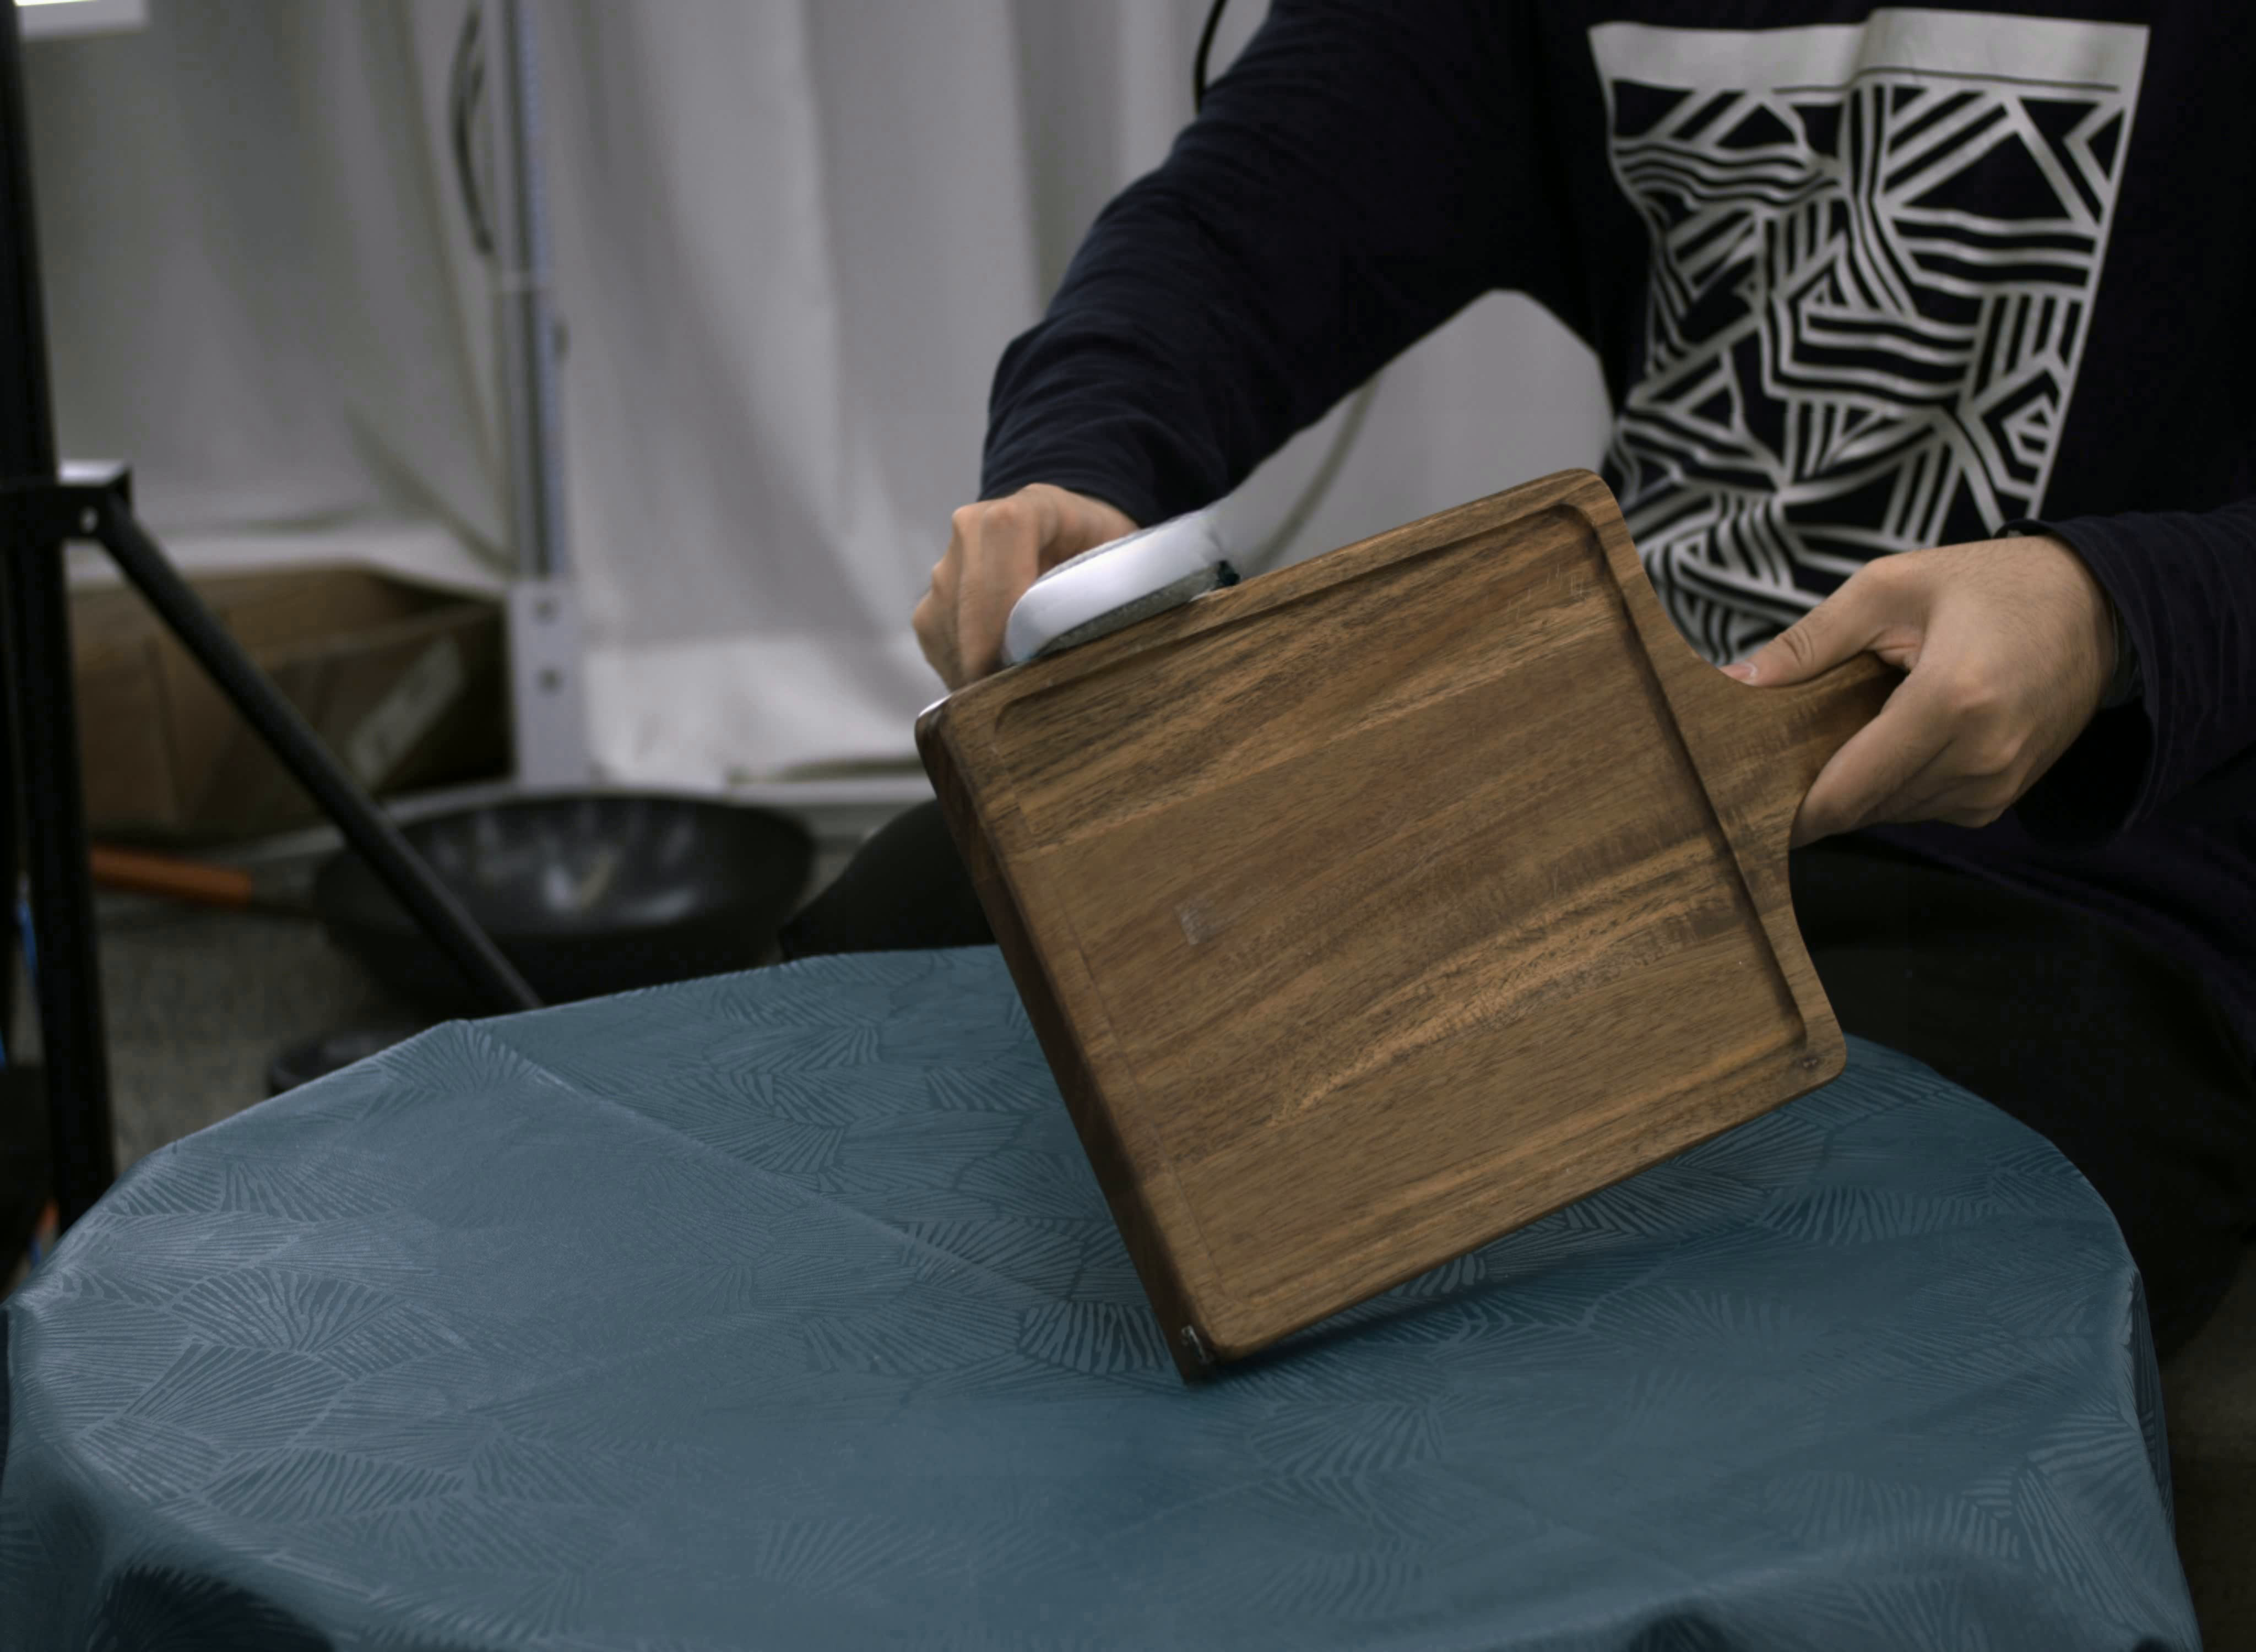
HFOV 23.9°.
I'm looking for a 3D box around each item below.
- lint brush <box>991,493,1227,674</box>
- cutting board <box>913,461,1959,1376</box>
[{"bbox_3d":[-0.011,-0.065,1.547,0.059,0.021,0.309,-28,0,-6],"label":"lint brush"},{"bbox_3d":[0.114,0.007,1.515,0.345,0.202,0.023,-20,-6,-34],"label":"cutting board"}]
